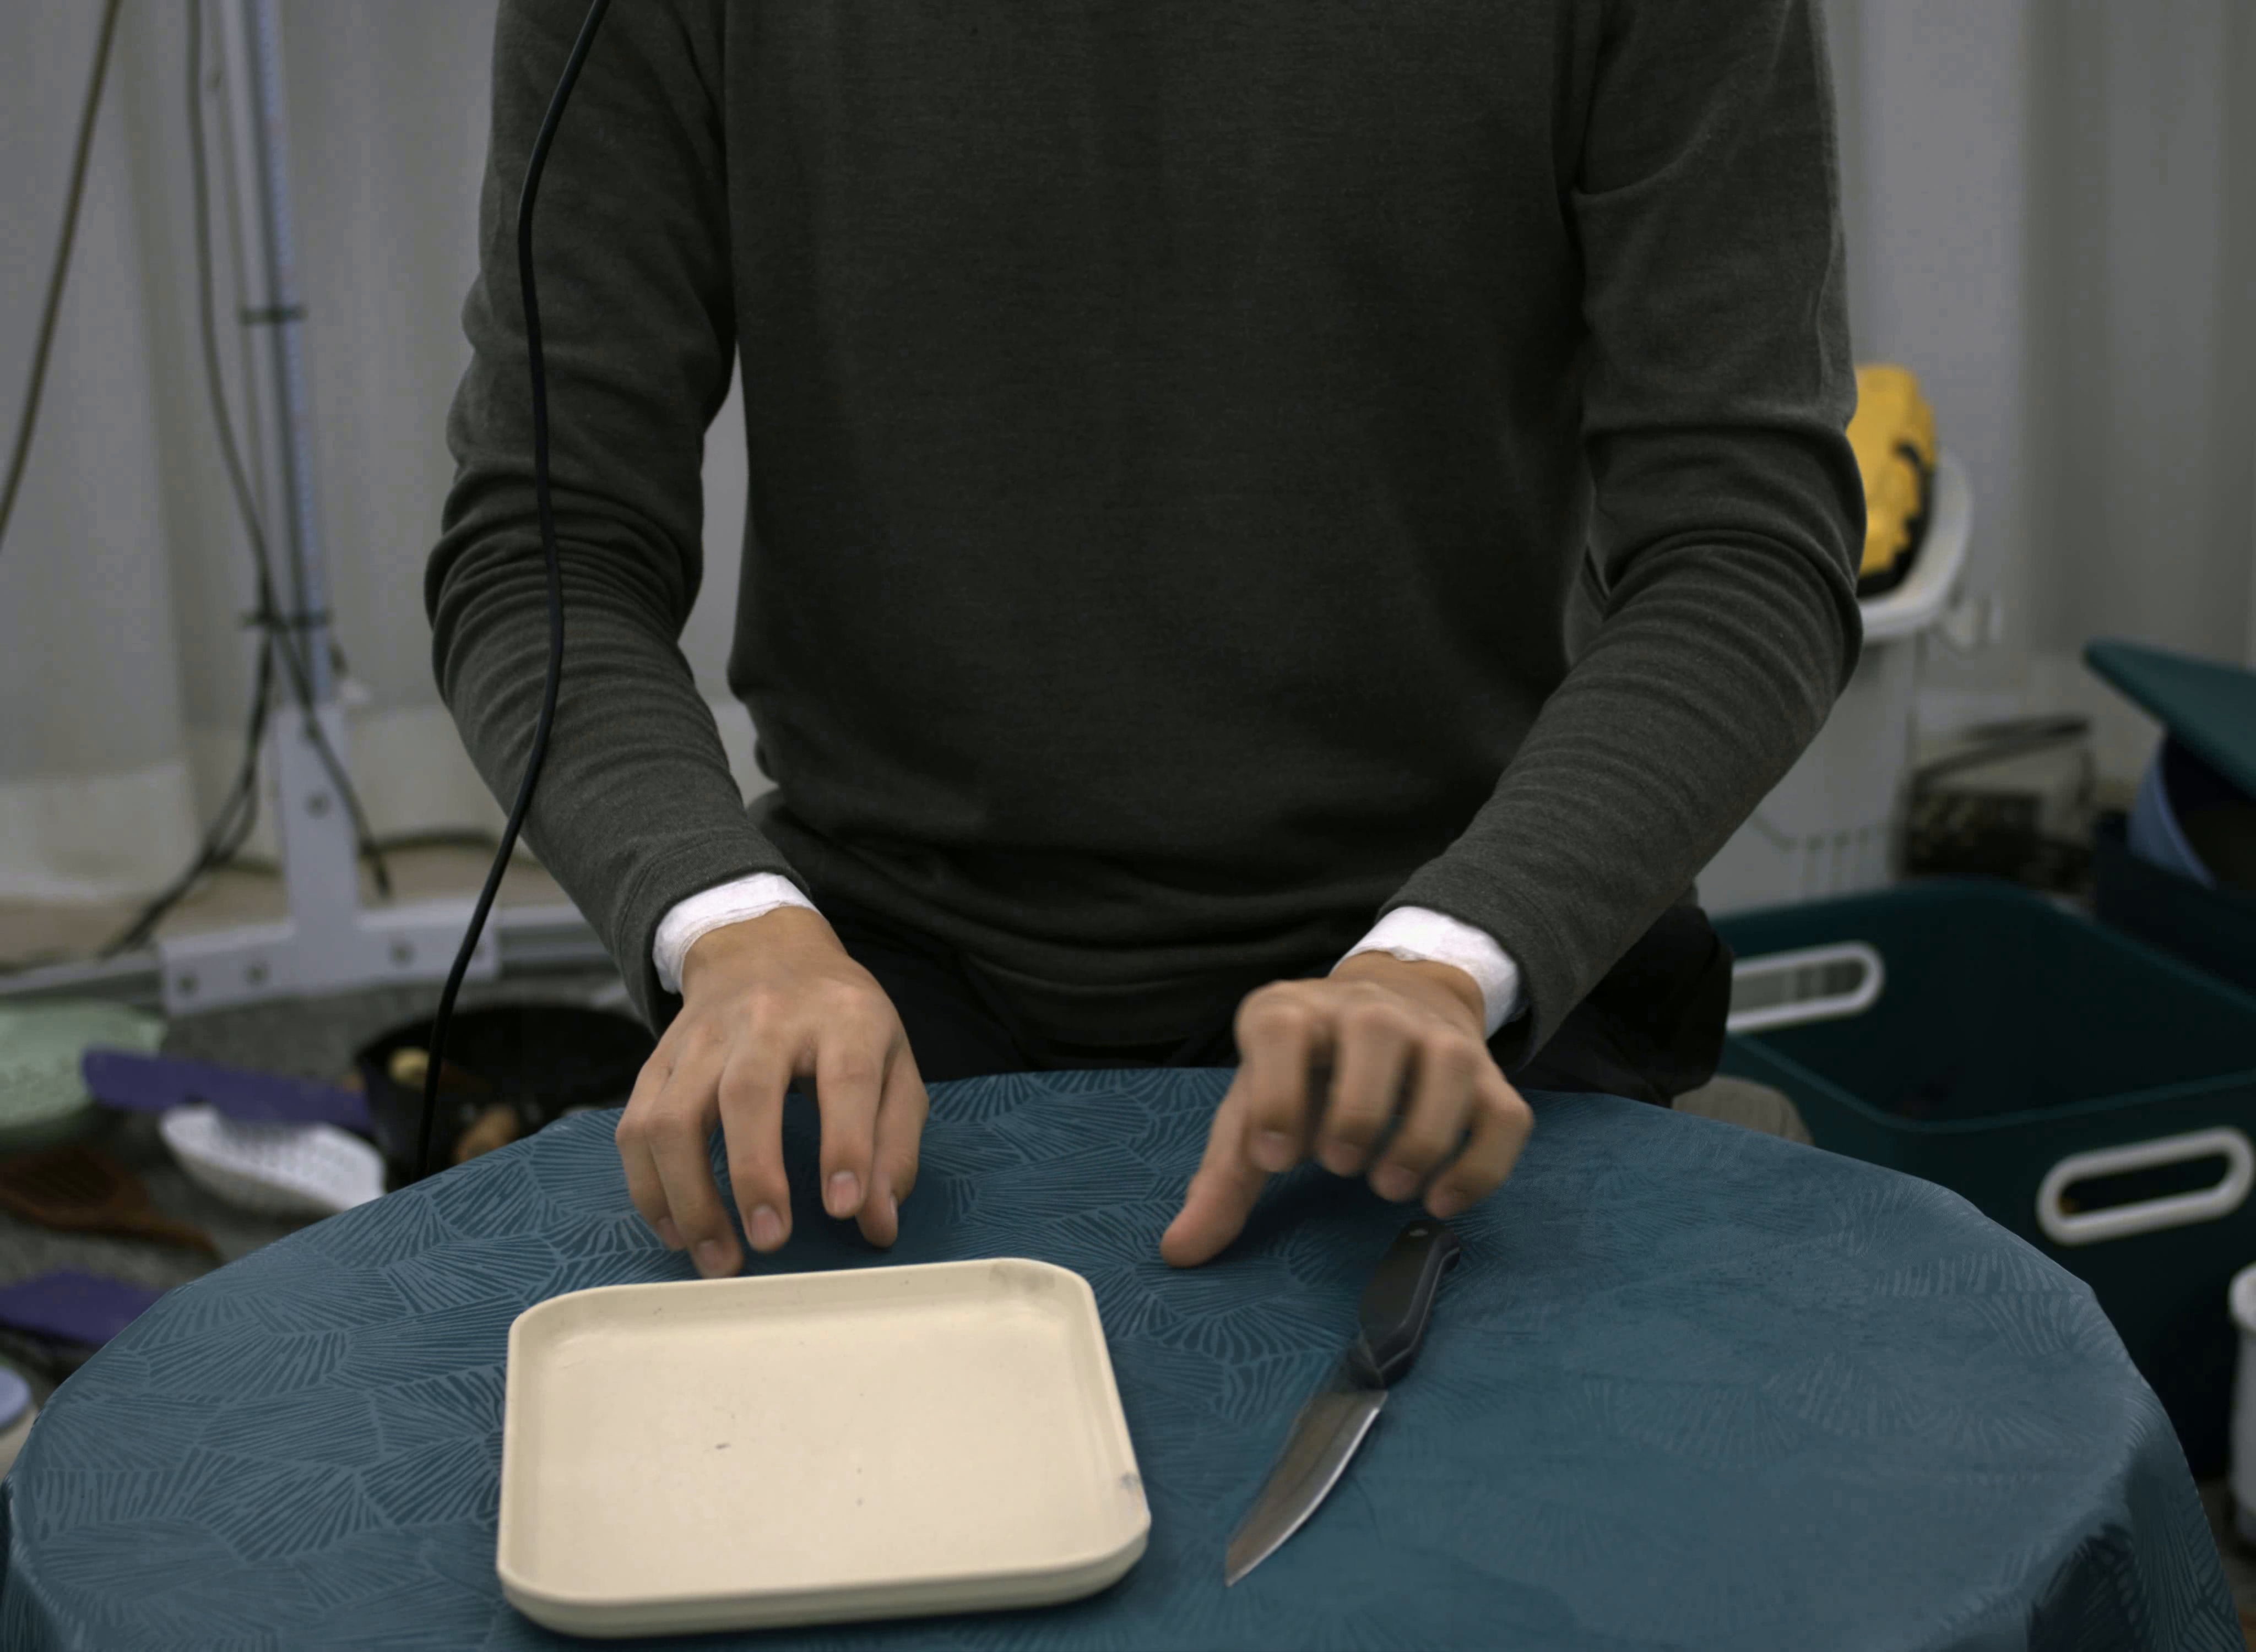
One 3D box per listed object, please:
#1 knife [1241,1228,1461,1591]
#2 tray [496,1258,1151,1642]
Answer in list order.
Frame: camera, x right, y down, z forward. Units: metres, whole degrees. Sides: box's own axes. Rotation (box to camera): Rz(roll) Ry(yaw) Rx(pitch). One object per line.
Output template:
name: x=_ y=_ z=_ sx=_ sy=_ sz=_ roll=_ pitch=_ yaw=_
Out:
knife: x=0.059 y=0.160 z=1.513 sx=0.024 sy=0.016 sz=0.239 roll=-2 pitch=17 yaw=16
tray: x=-0.086 y=0.169 z=1.495 sx=0.170 sy=0.017 sz=0.241 roll=-4 pitch=15 yaw=-4
